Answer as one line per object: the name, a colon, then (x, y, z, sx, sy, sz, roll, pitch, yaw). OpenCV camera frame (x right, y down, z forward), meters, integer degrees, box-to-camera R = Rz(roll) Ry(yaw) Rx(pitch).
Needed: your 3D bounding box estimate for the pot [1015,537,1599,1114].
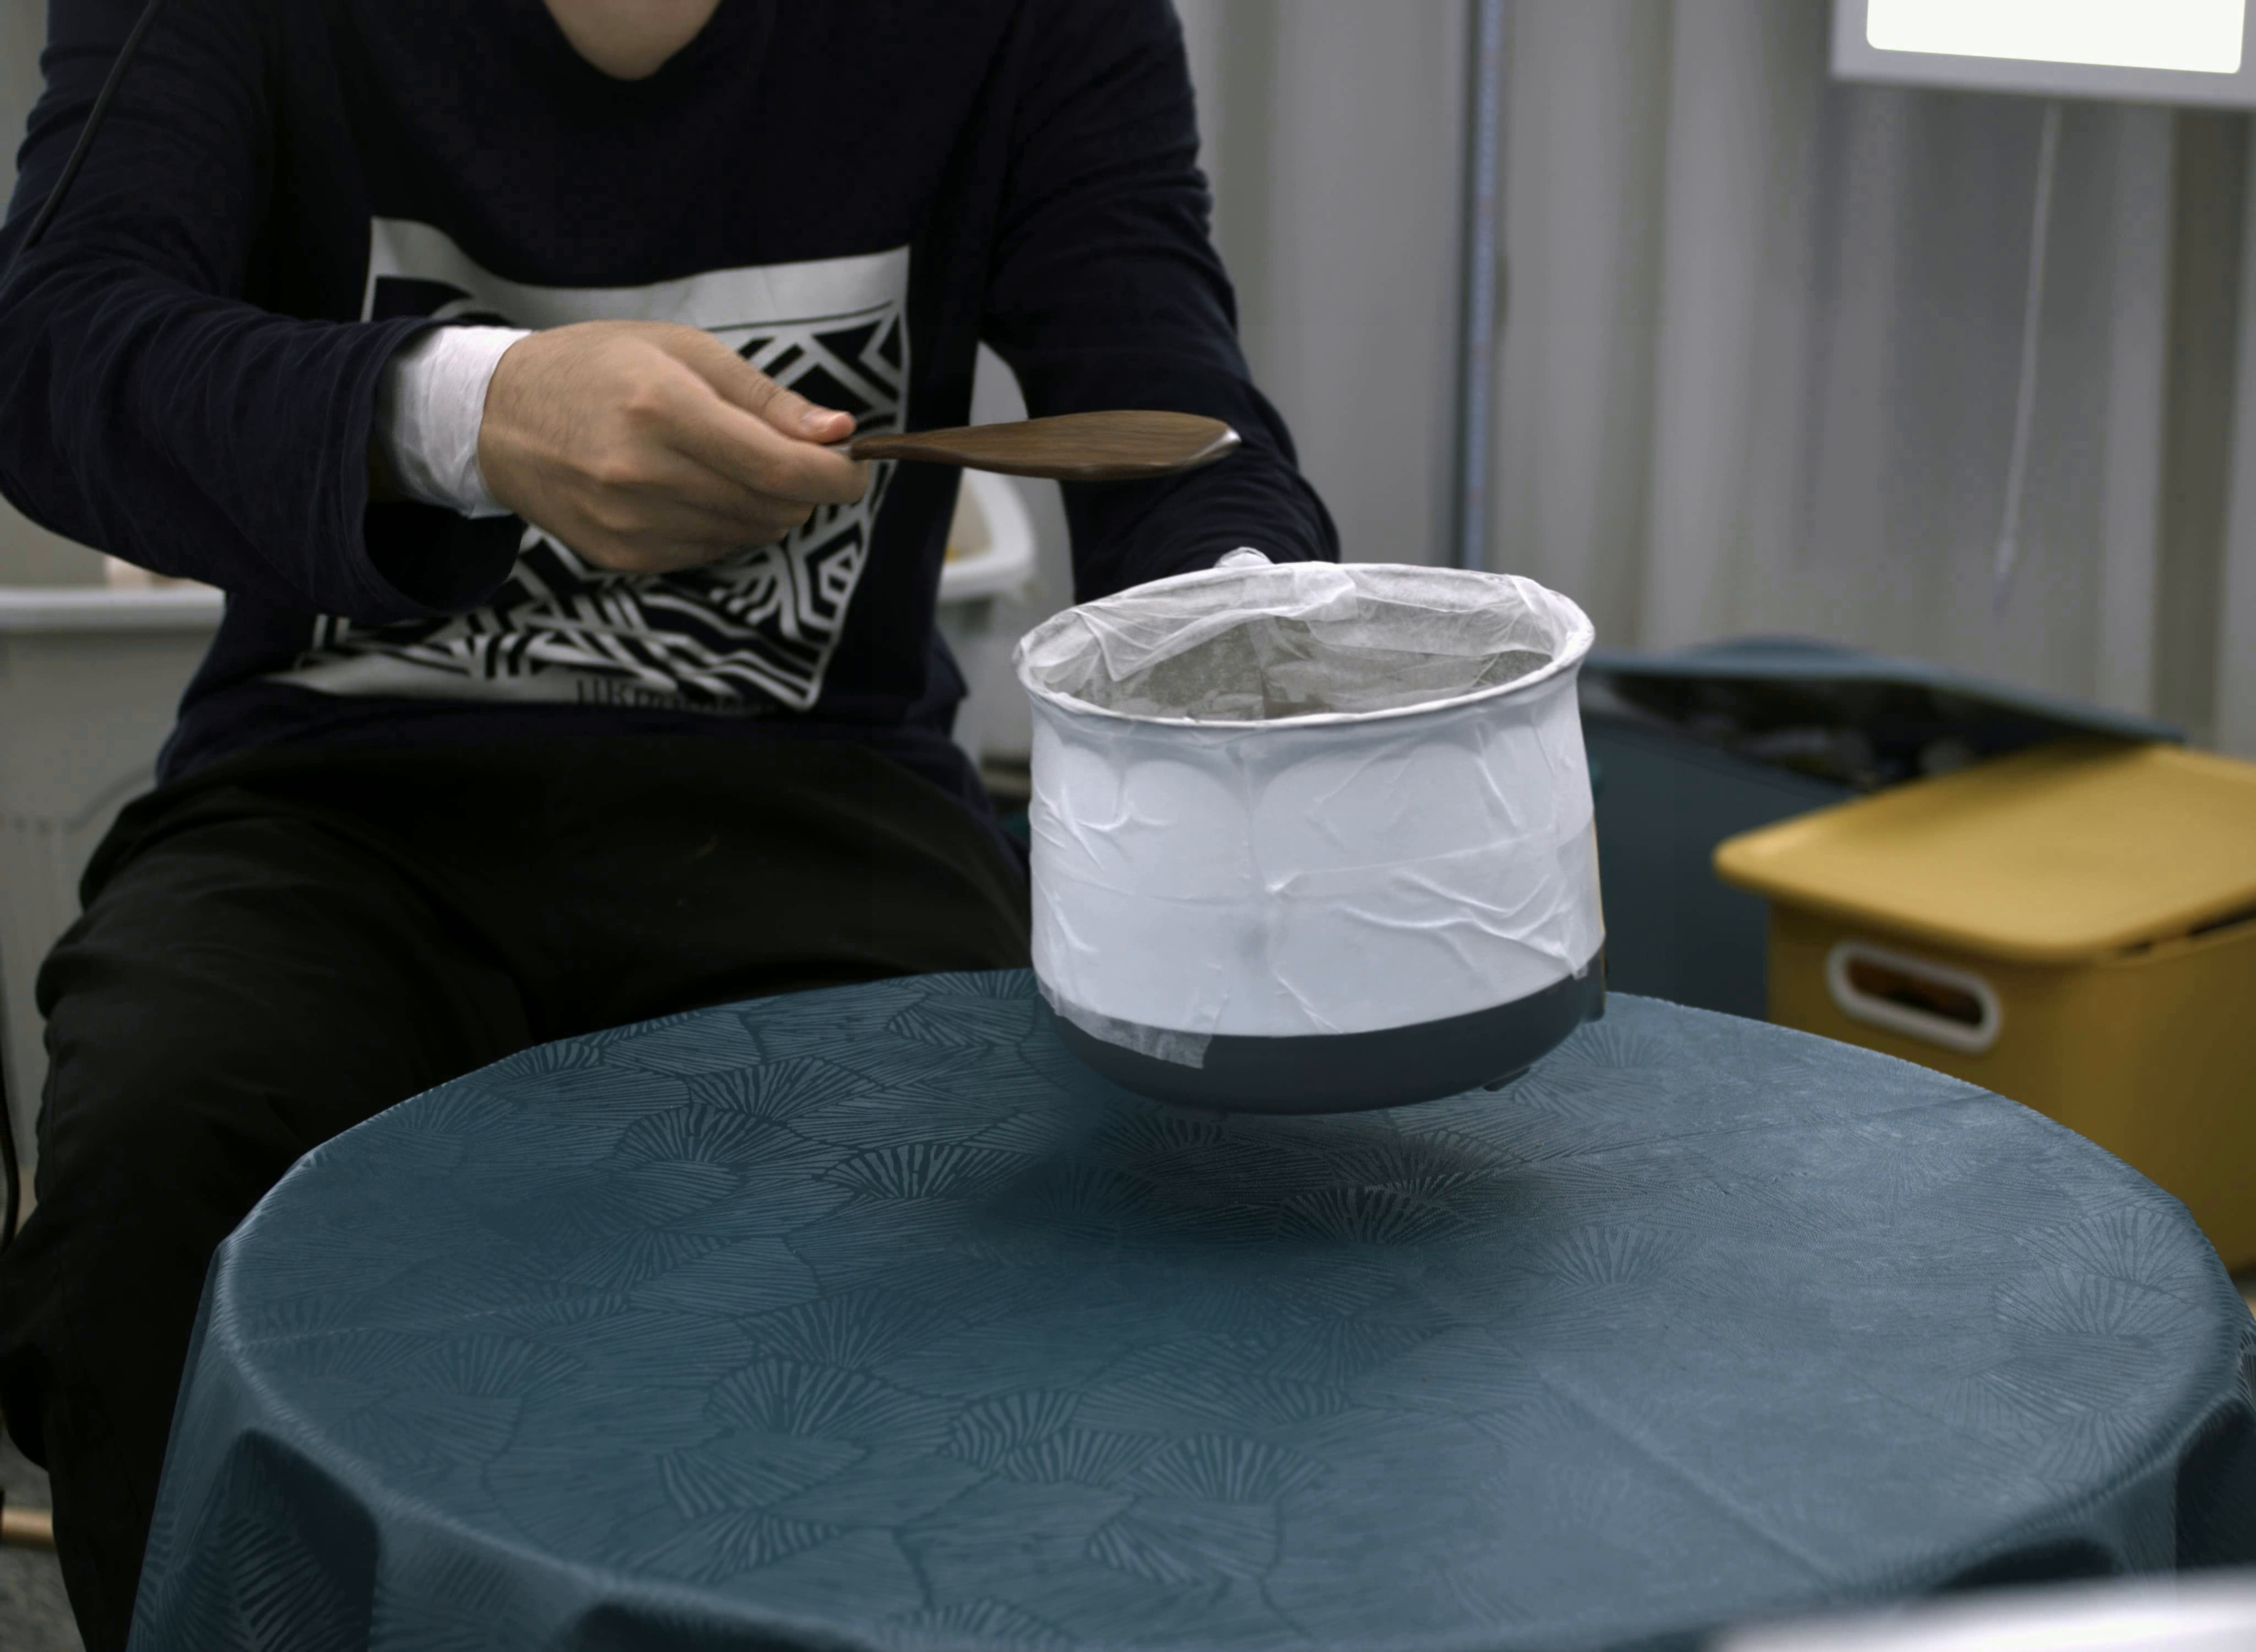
pot: (0.050, -0.005, 1.636, 0.179, 0.138, 0.231, -4, 18, -10)

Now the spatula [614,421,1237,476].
spatula: (-0.065, -0.114, 1.604, 0.213, 0.009, 0.072, 1, 15, 28)
